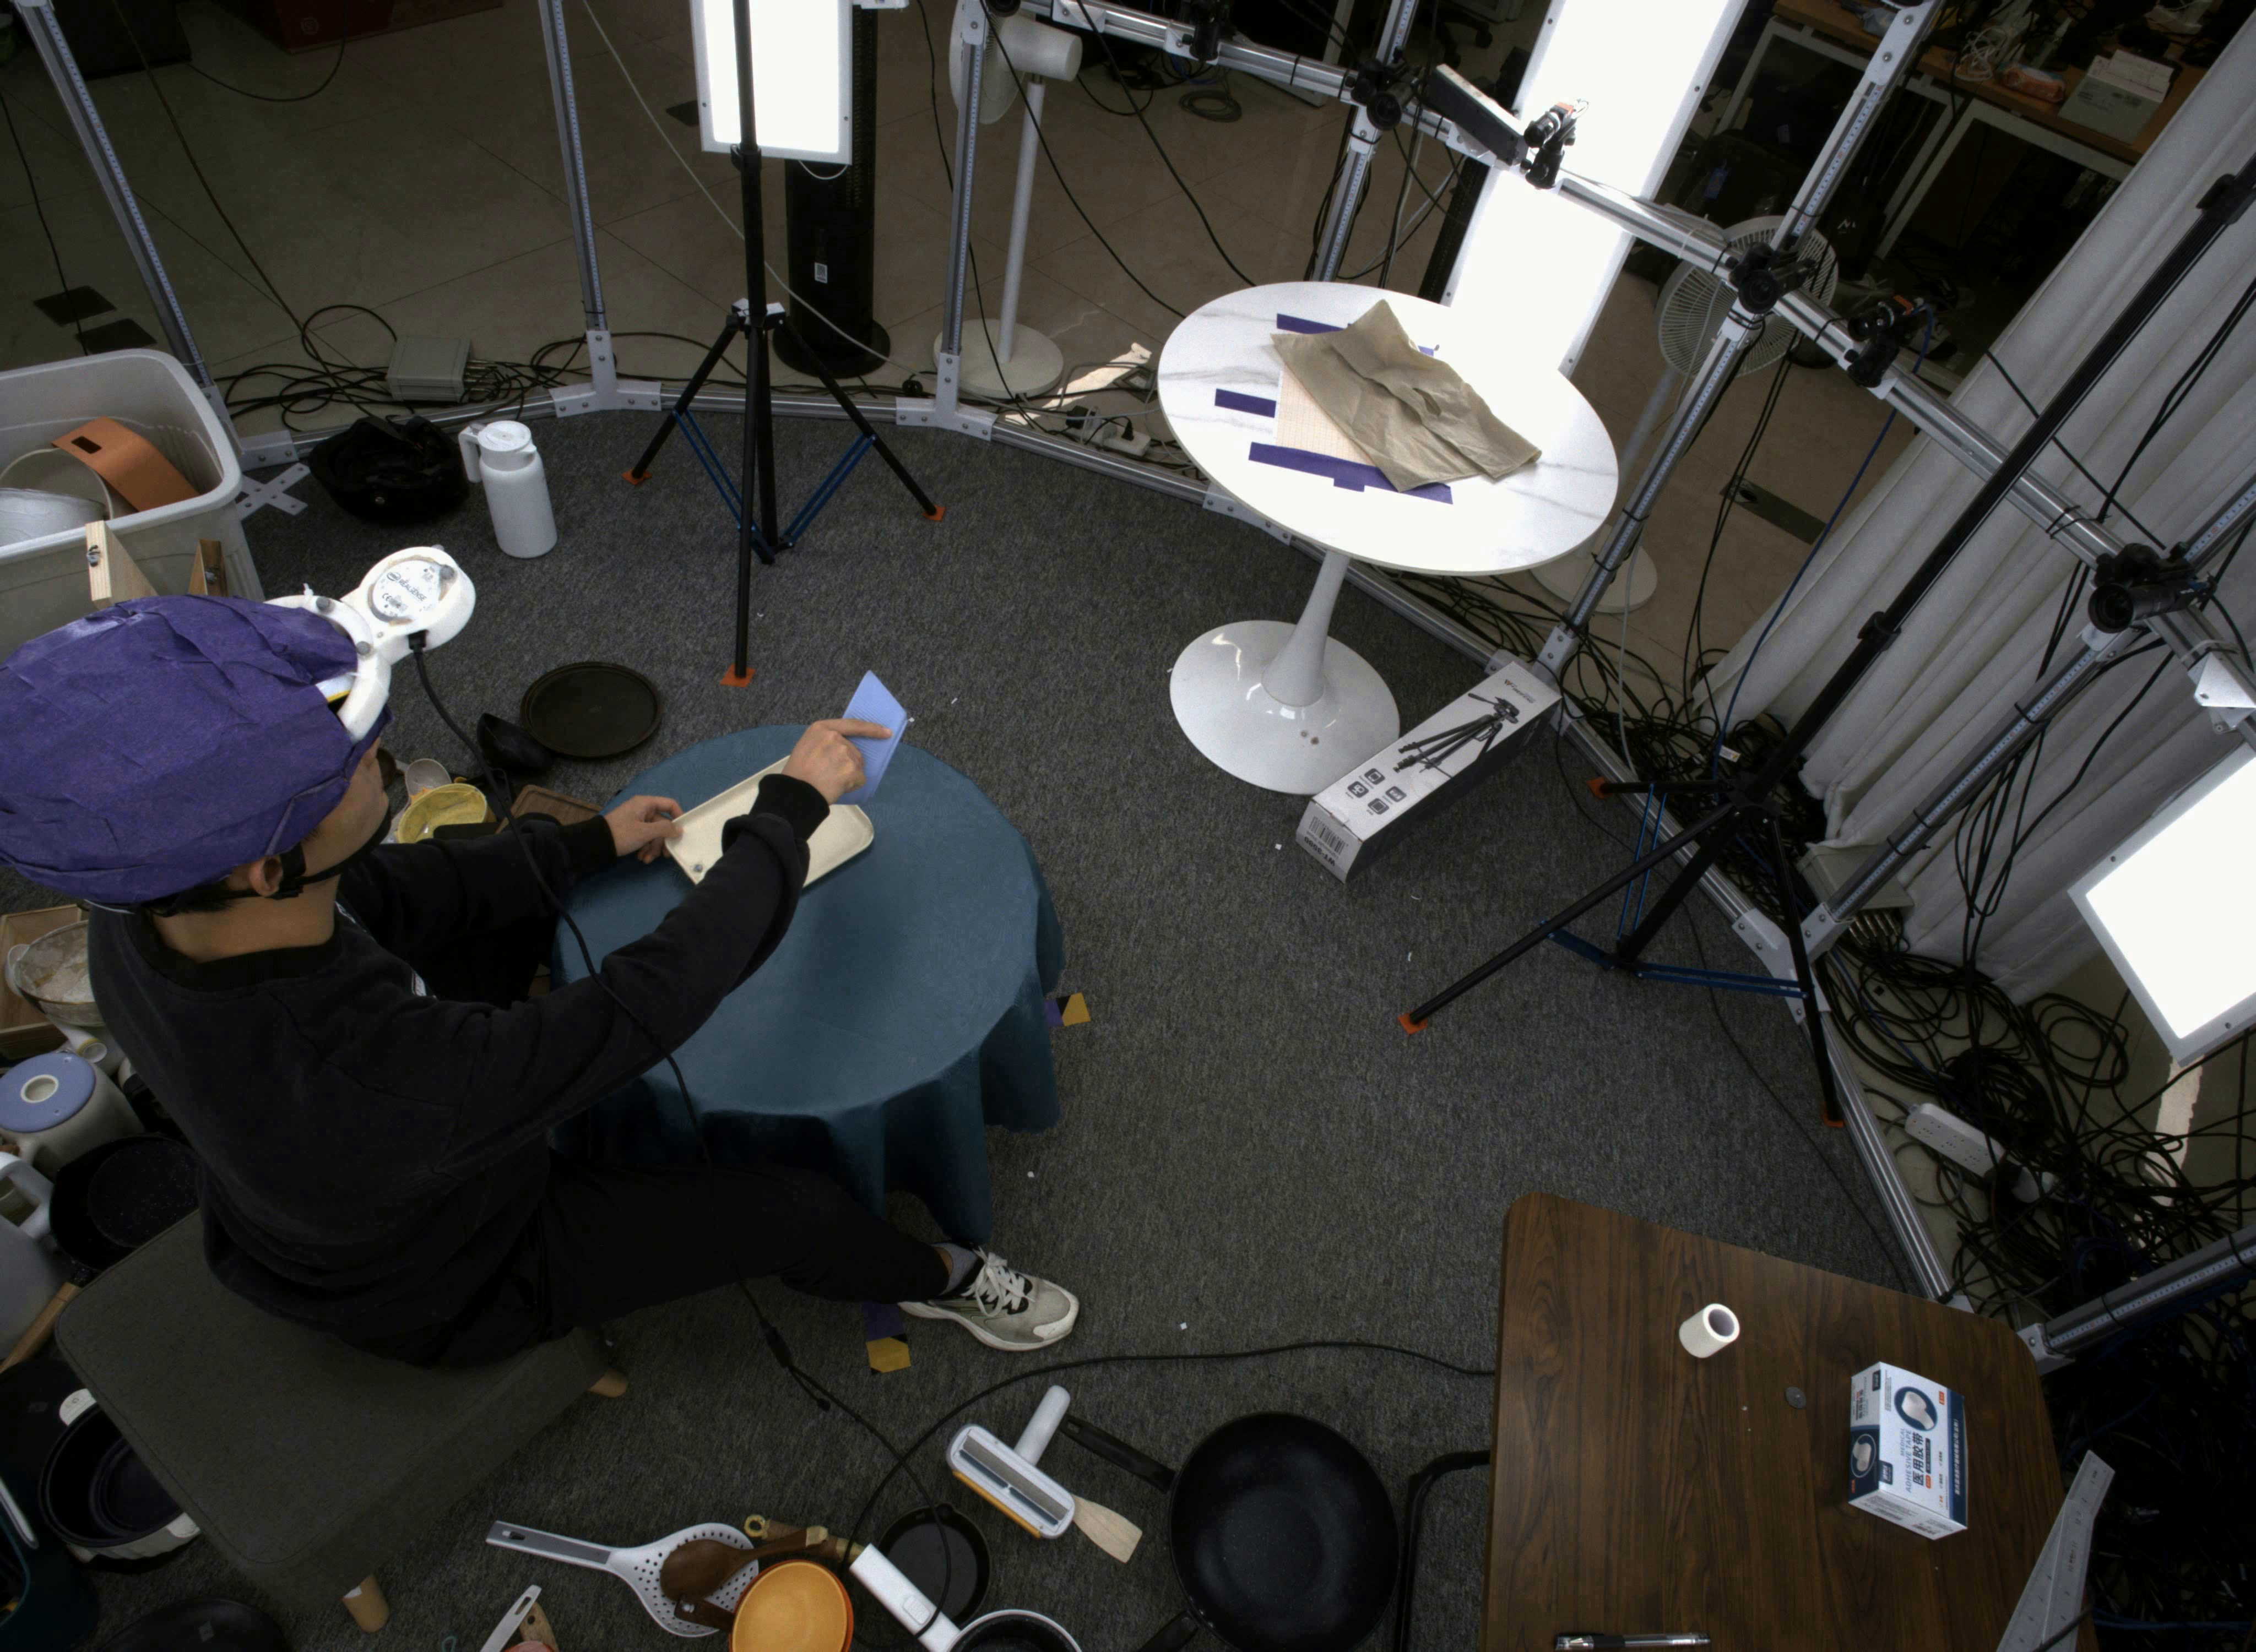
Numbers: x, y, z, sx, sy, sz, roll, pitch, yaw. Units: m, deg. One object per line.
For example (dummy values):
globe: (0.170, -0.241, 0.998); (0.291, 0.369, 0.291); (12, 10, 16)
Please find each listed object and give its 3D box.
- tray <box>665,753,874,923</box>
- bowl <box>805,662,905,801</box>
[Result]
tray: (-0.464, 0.013, 1.682); (0.240, 0.017, 0.169); (-36, 79, -34)
bowl: (-0.317, -0.098, 1.538); (0.071, 0.177, 0.174); (25, 50, -10)
